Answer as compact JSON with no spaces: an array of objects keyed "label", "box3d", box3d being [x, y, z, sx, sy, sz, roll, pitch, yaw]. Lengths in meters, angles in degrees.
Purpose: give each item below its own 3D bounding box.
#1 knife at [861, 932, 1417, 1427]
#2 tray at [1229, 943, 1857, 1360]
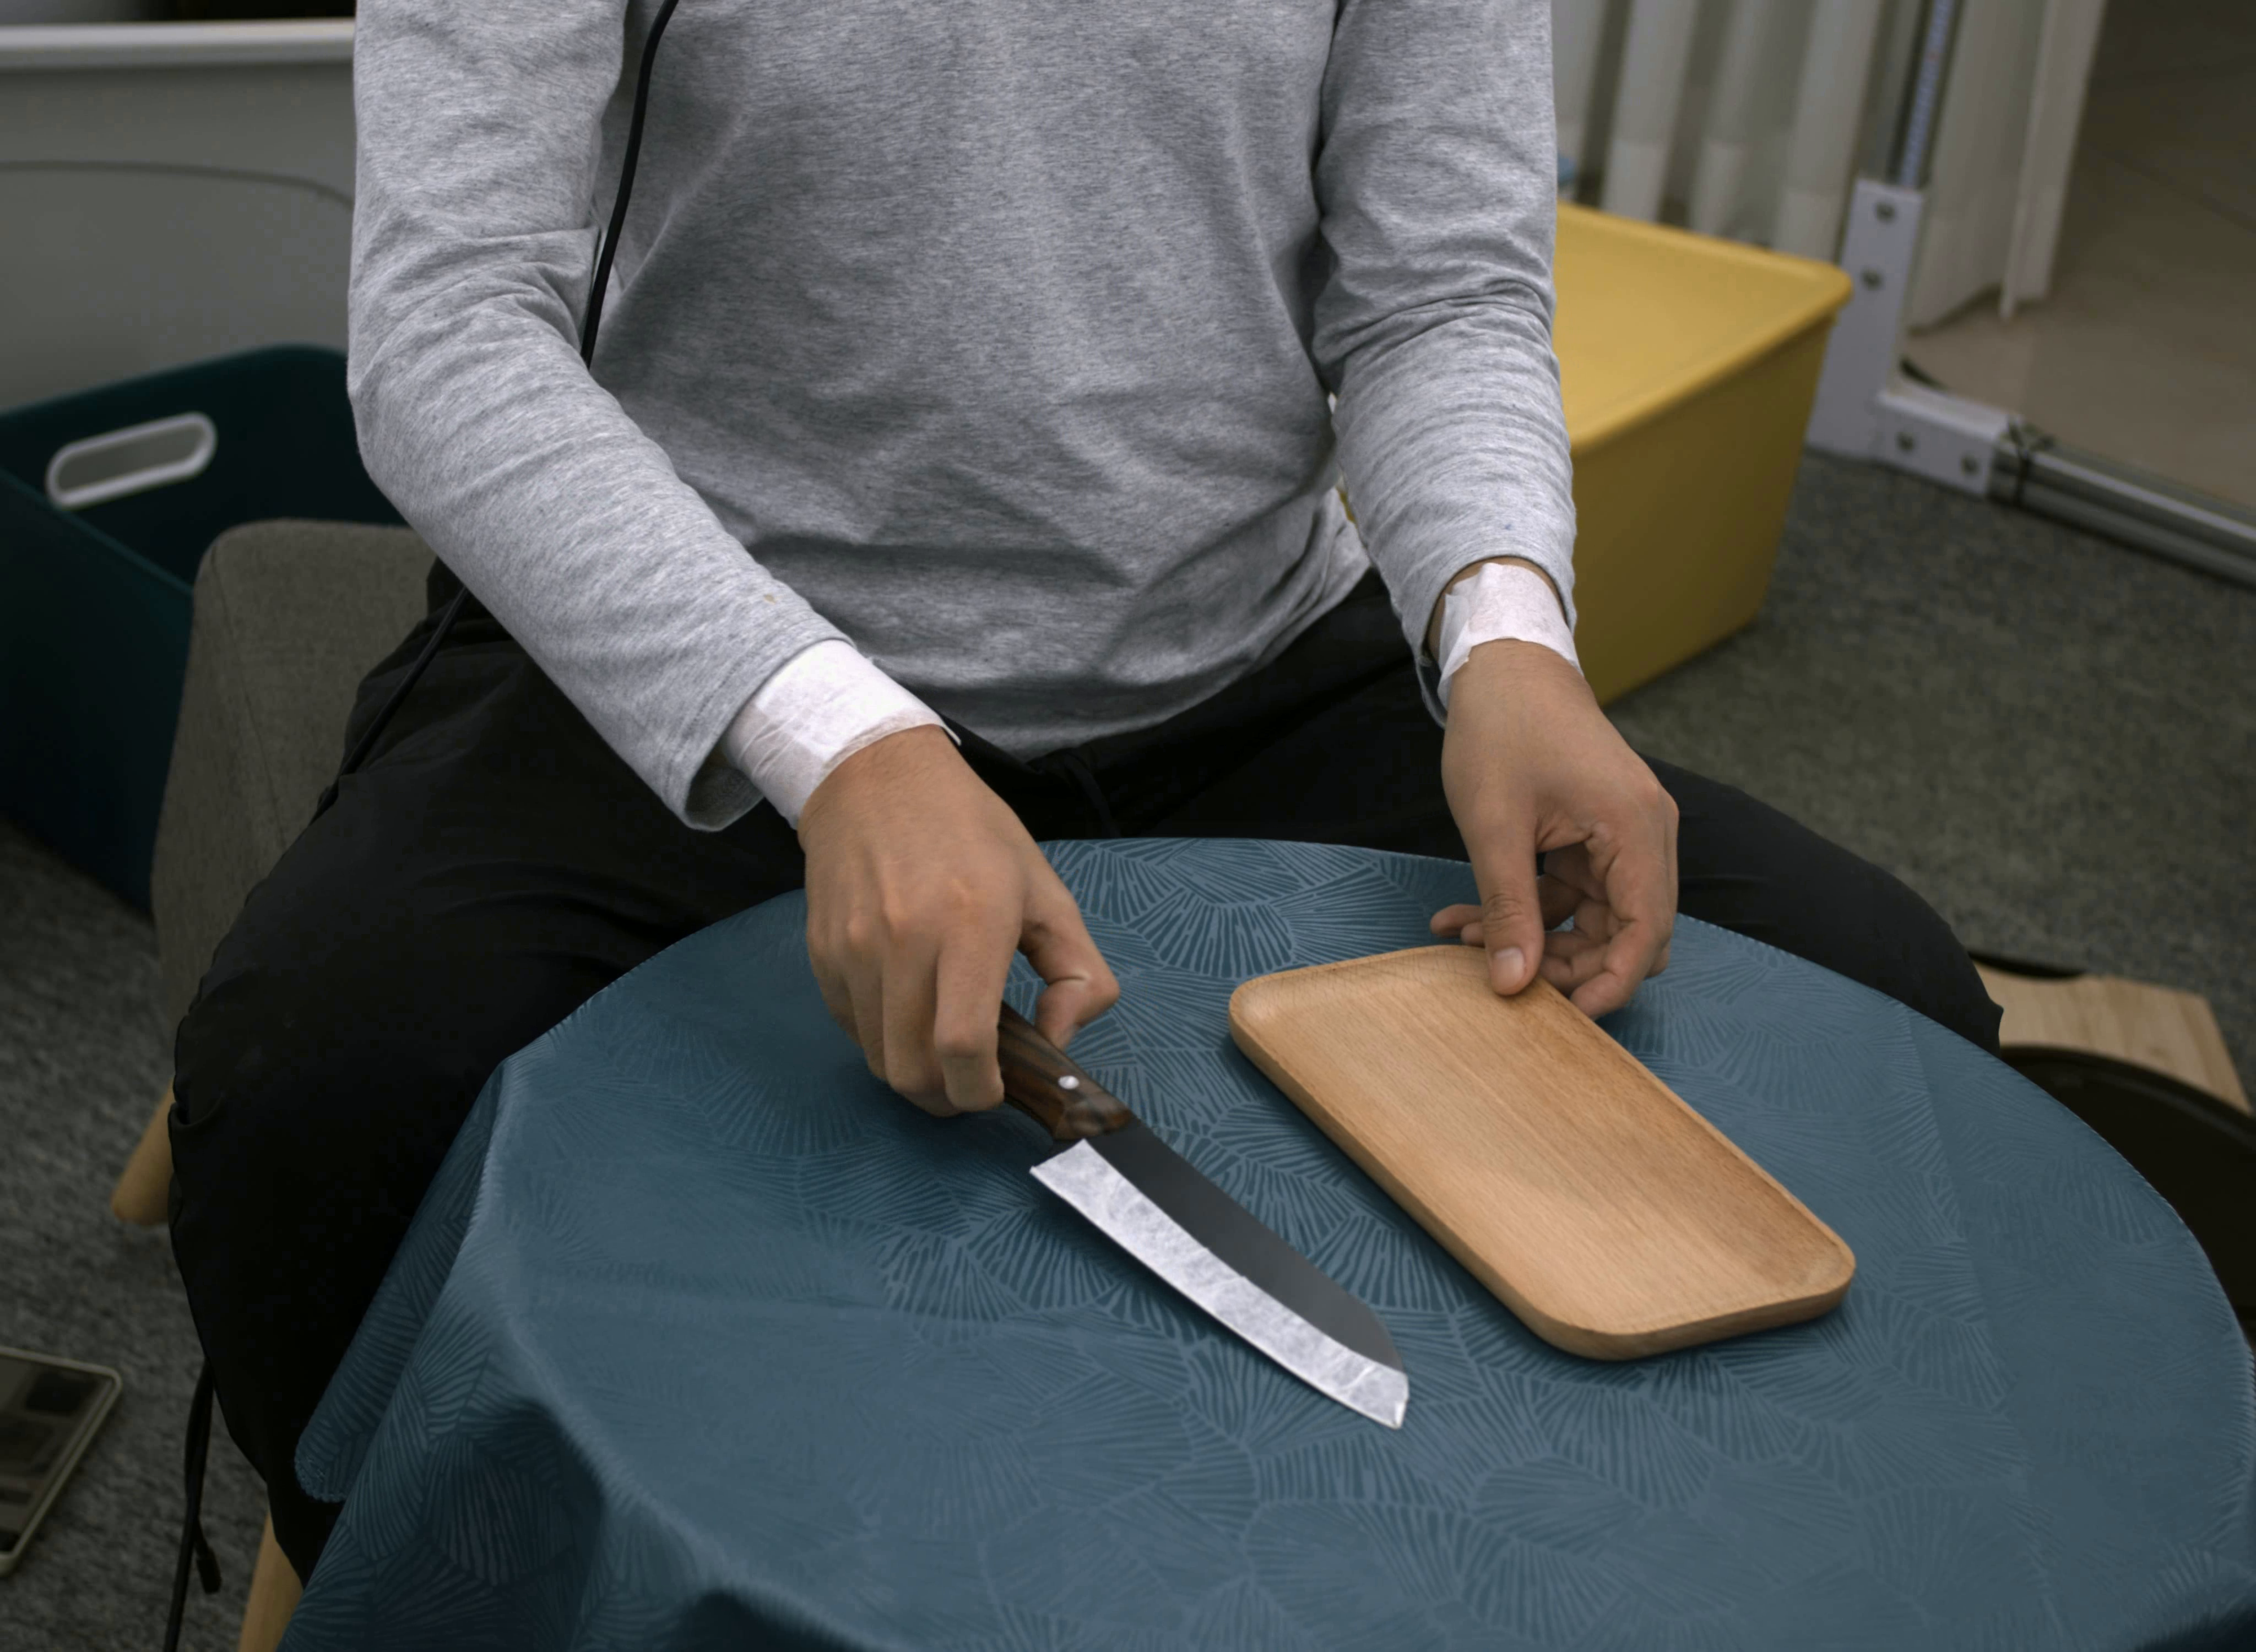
[{"label":"knife","box3d":[0.001,0.117,1.781,0.050,0.020,0.291,-25,46,-29]},{"label":"tray","box3d":[0.140,0.110,1.847,0.129,0.023,0.253,-6,29,-28]}]
